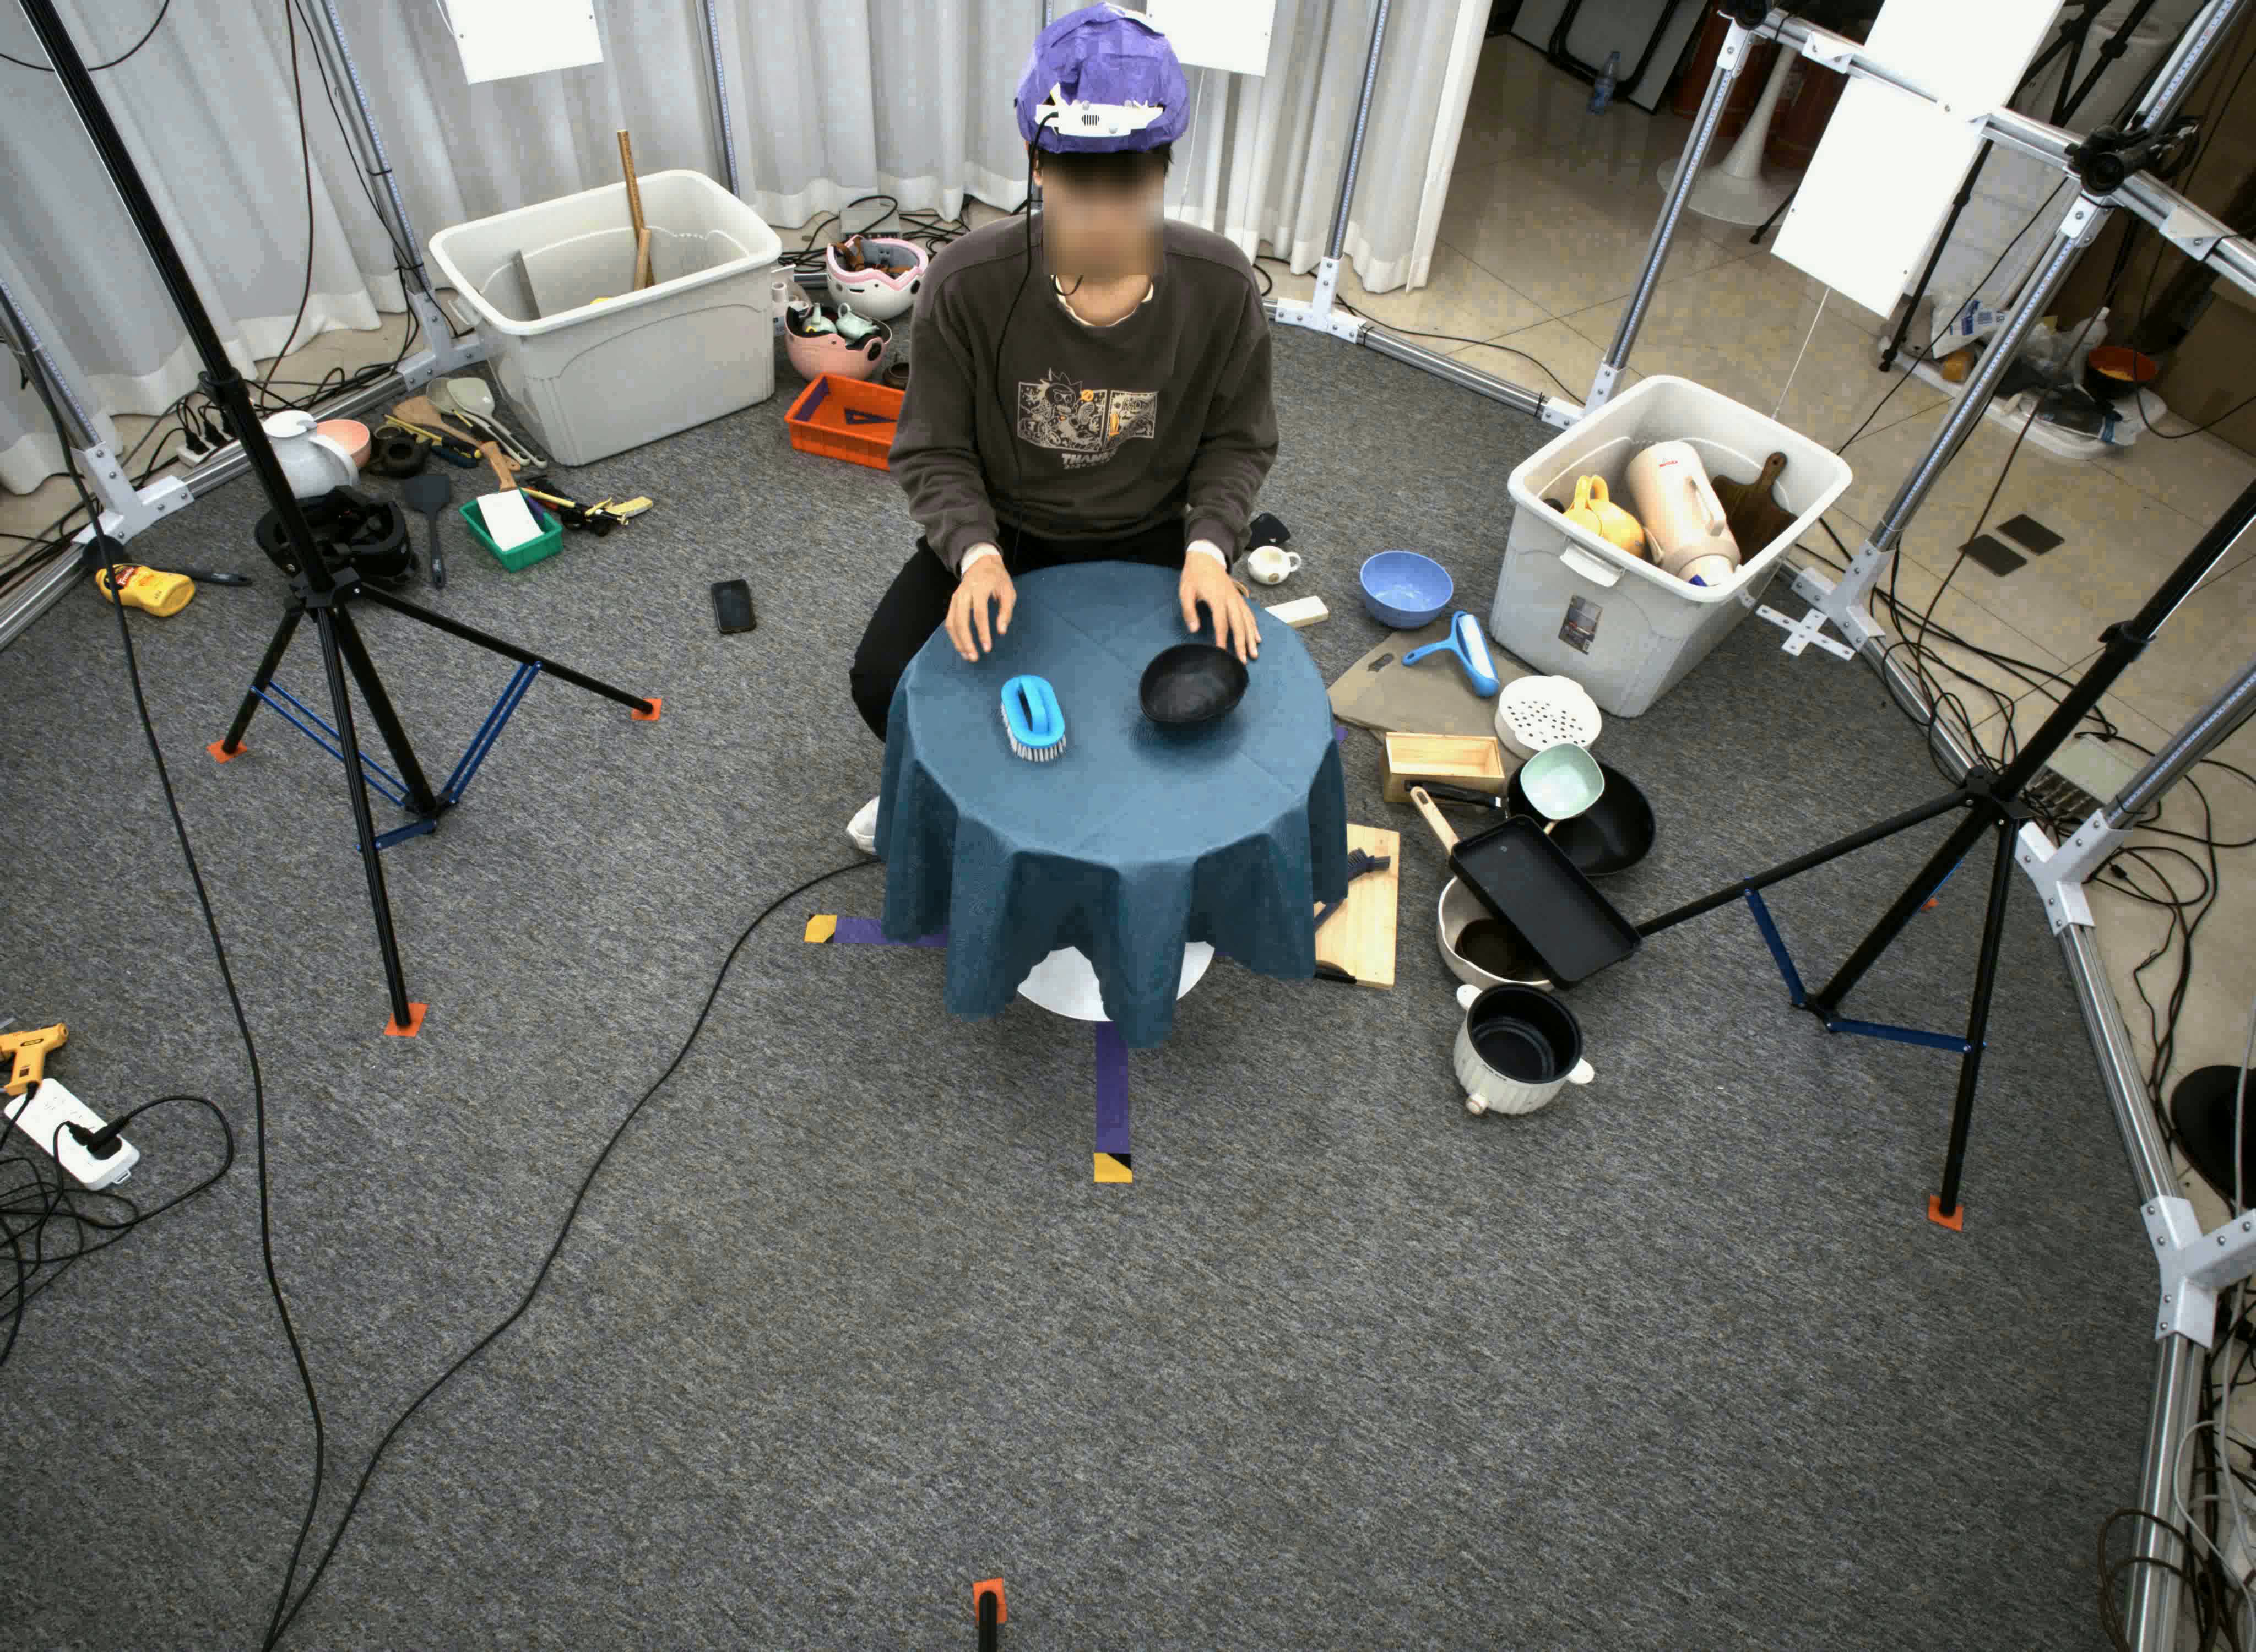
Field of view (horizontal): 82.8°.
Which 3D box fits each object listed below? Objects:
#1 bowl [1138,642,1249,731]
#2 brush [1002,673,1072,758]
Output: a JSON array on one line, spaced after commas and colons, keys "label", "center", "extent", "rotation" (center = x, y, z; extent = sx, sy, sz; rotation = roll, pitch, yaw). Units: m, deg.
[{"label": "bowl", "center": [0.090, -0.181, 1.788], "extent": [0.139, 0.065, 0.172], "rotation": [36, 58, 26]}, {"label": "brush", "center": [-0.127, -0.162, 1.756], "extent": [0.084, 0.062, 0.145], "rotation": [-11, 49, -7]}]
